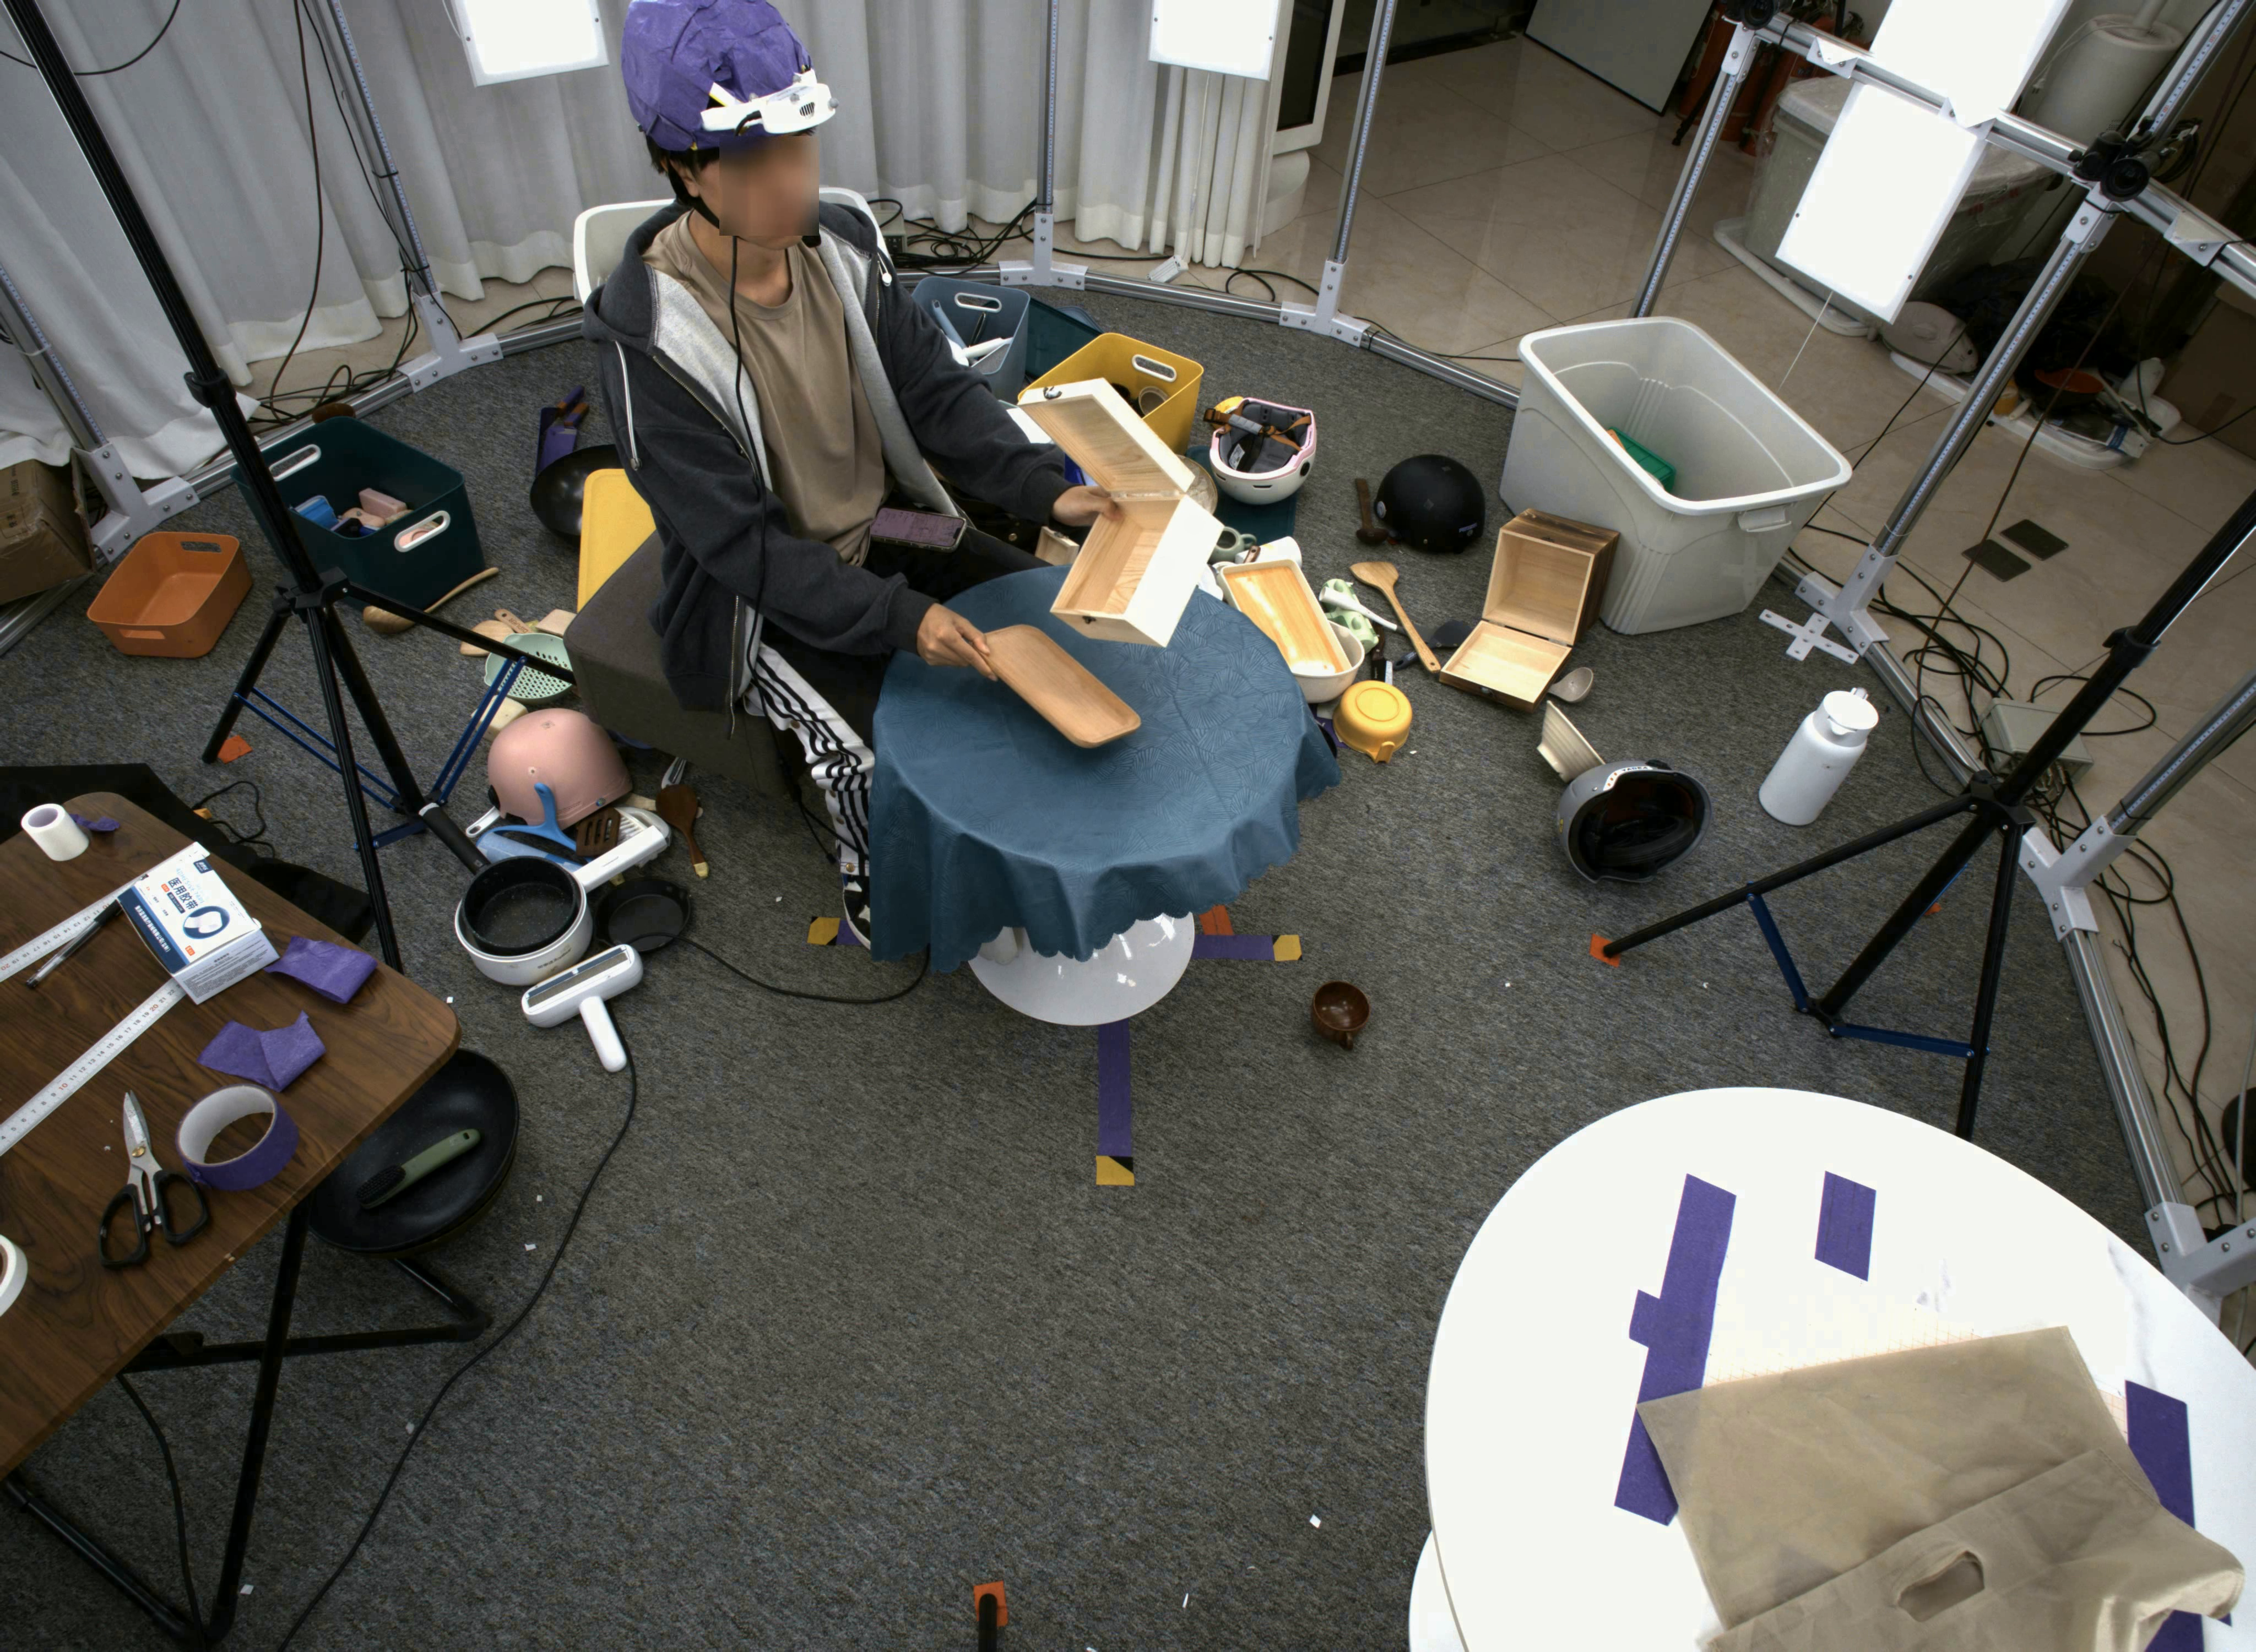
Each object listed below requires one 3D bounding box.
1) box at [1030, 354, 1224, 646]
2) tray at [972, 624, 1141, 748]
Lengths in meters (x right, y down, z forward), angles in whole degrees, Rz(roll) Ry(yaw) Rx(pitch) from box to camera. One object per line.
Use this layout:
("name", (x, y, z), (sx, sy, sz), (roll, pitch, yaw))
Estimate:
("box", (-0.036, -0.405, 1.654), (0.183, 0.249, 0.267), (13, 75, 57))
("tray", (-0.100, -0.195, 1.761), (0.131, 0.022, 0.255), (-20, 53, -44))
